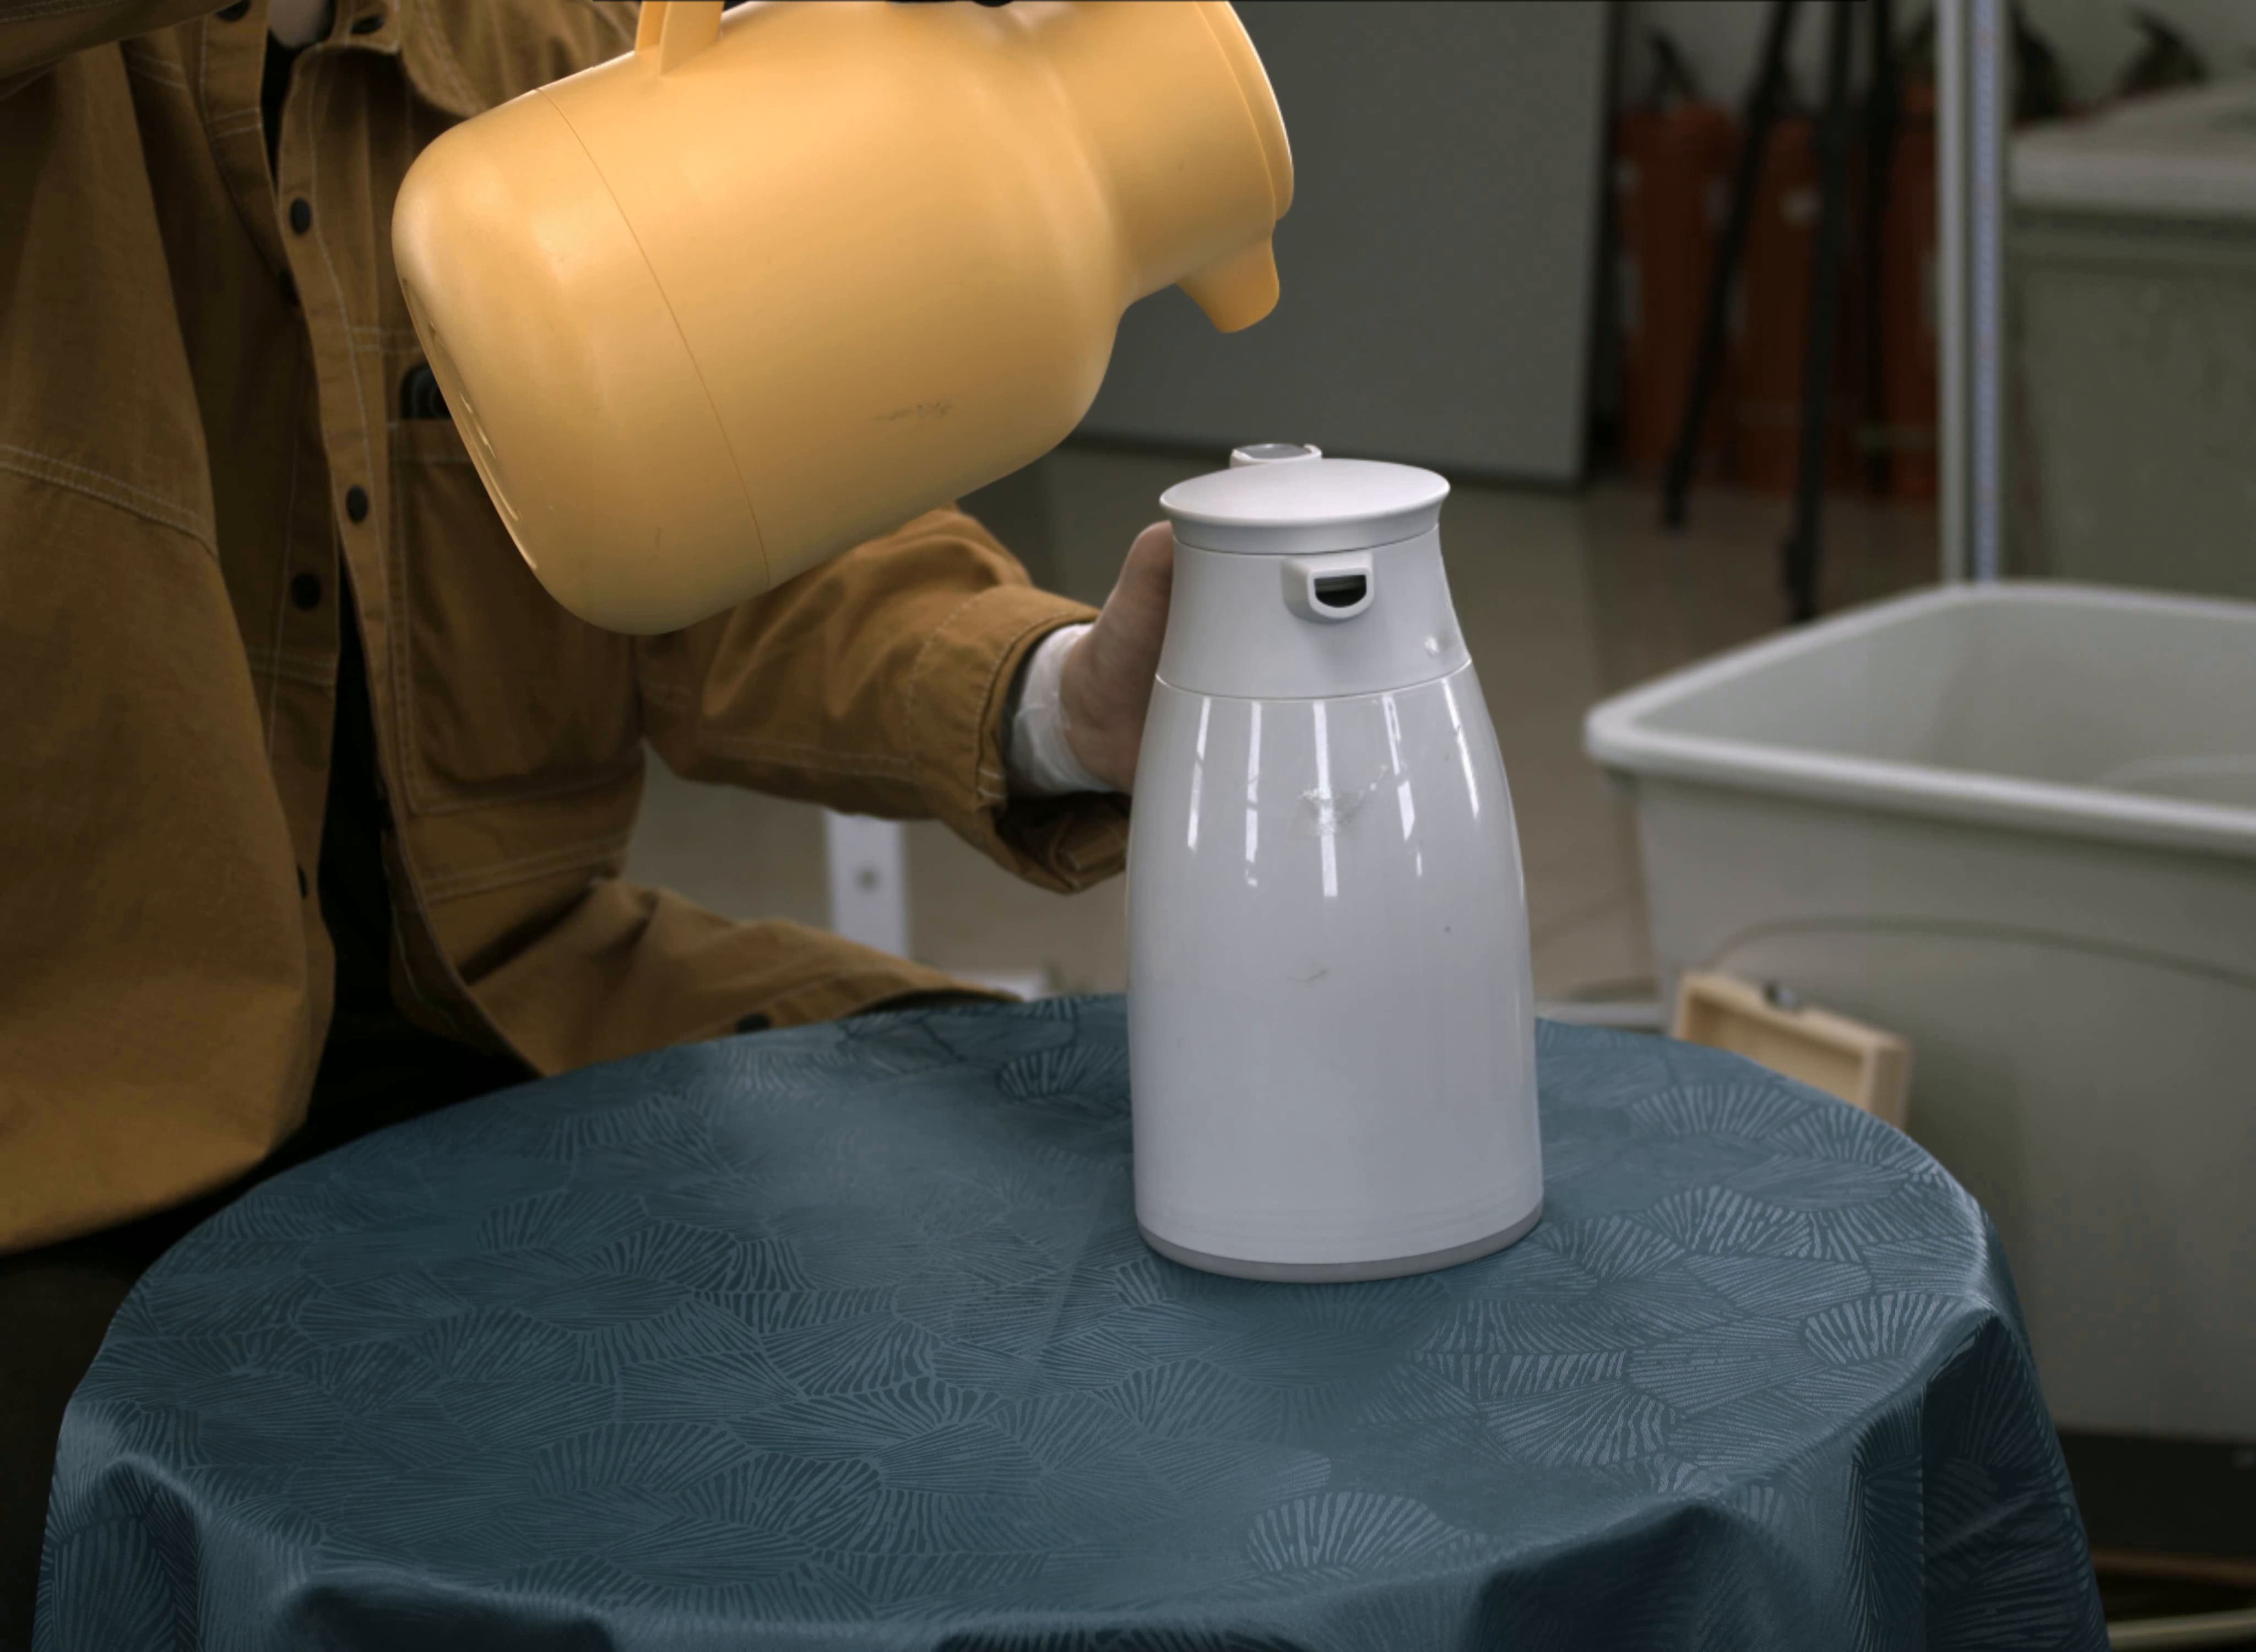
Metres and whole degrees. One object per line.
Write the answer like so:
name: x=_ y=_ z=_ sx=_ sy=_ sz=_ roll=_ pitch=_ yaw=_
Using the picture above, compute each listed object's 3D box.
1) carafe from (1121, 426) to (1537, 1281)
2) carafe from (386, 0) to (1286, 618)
carafe: x=0.056 y=0.001 z=1.723 sx=0.130 sy=0.251 sz=0.168 roll=-6 pitch=13 yaw=-7
carafe: x=-0.087 y=-0.196 z=1.599 sx=0.257 sy=0.203 sz=0.165 roll=-26 pitch=24 yaw=-11
